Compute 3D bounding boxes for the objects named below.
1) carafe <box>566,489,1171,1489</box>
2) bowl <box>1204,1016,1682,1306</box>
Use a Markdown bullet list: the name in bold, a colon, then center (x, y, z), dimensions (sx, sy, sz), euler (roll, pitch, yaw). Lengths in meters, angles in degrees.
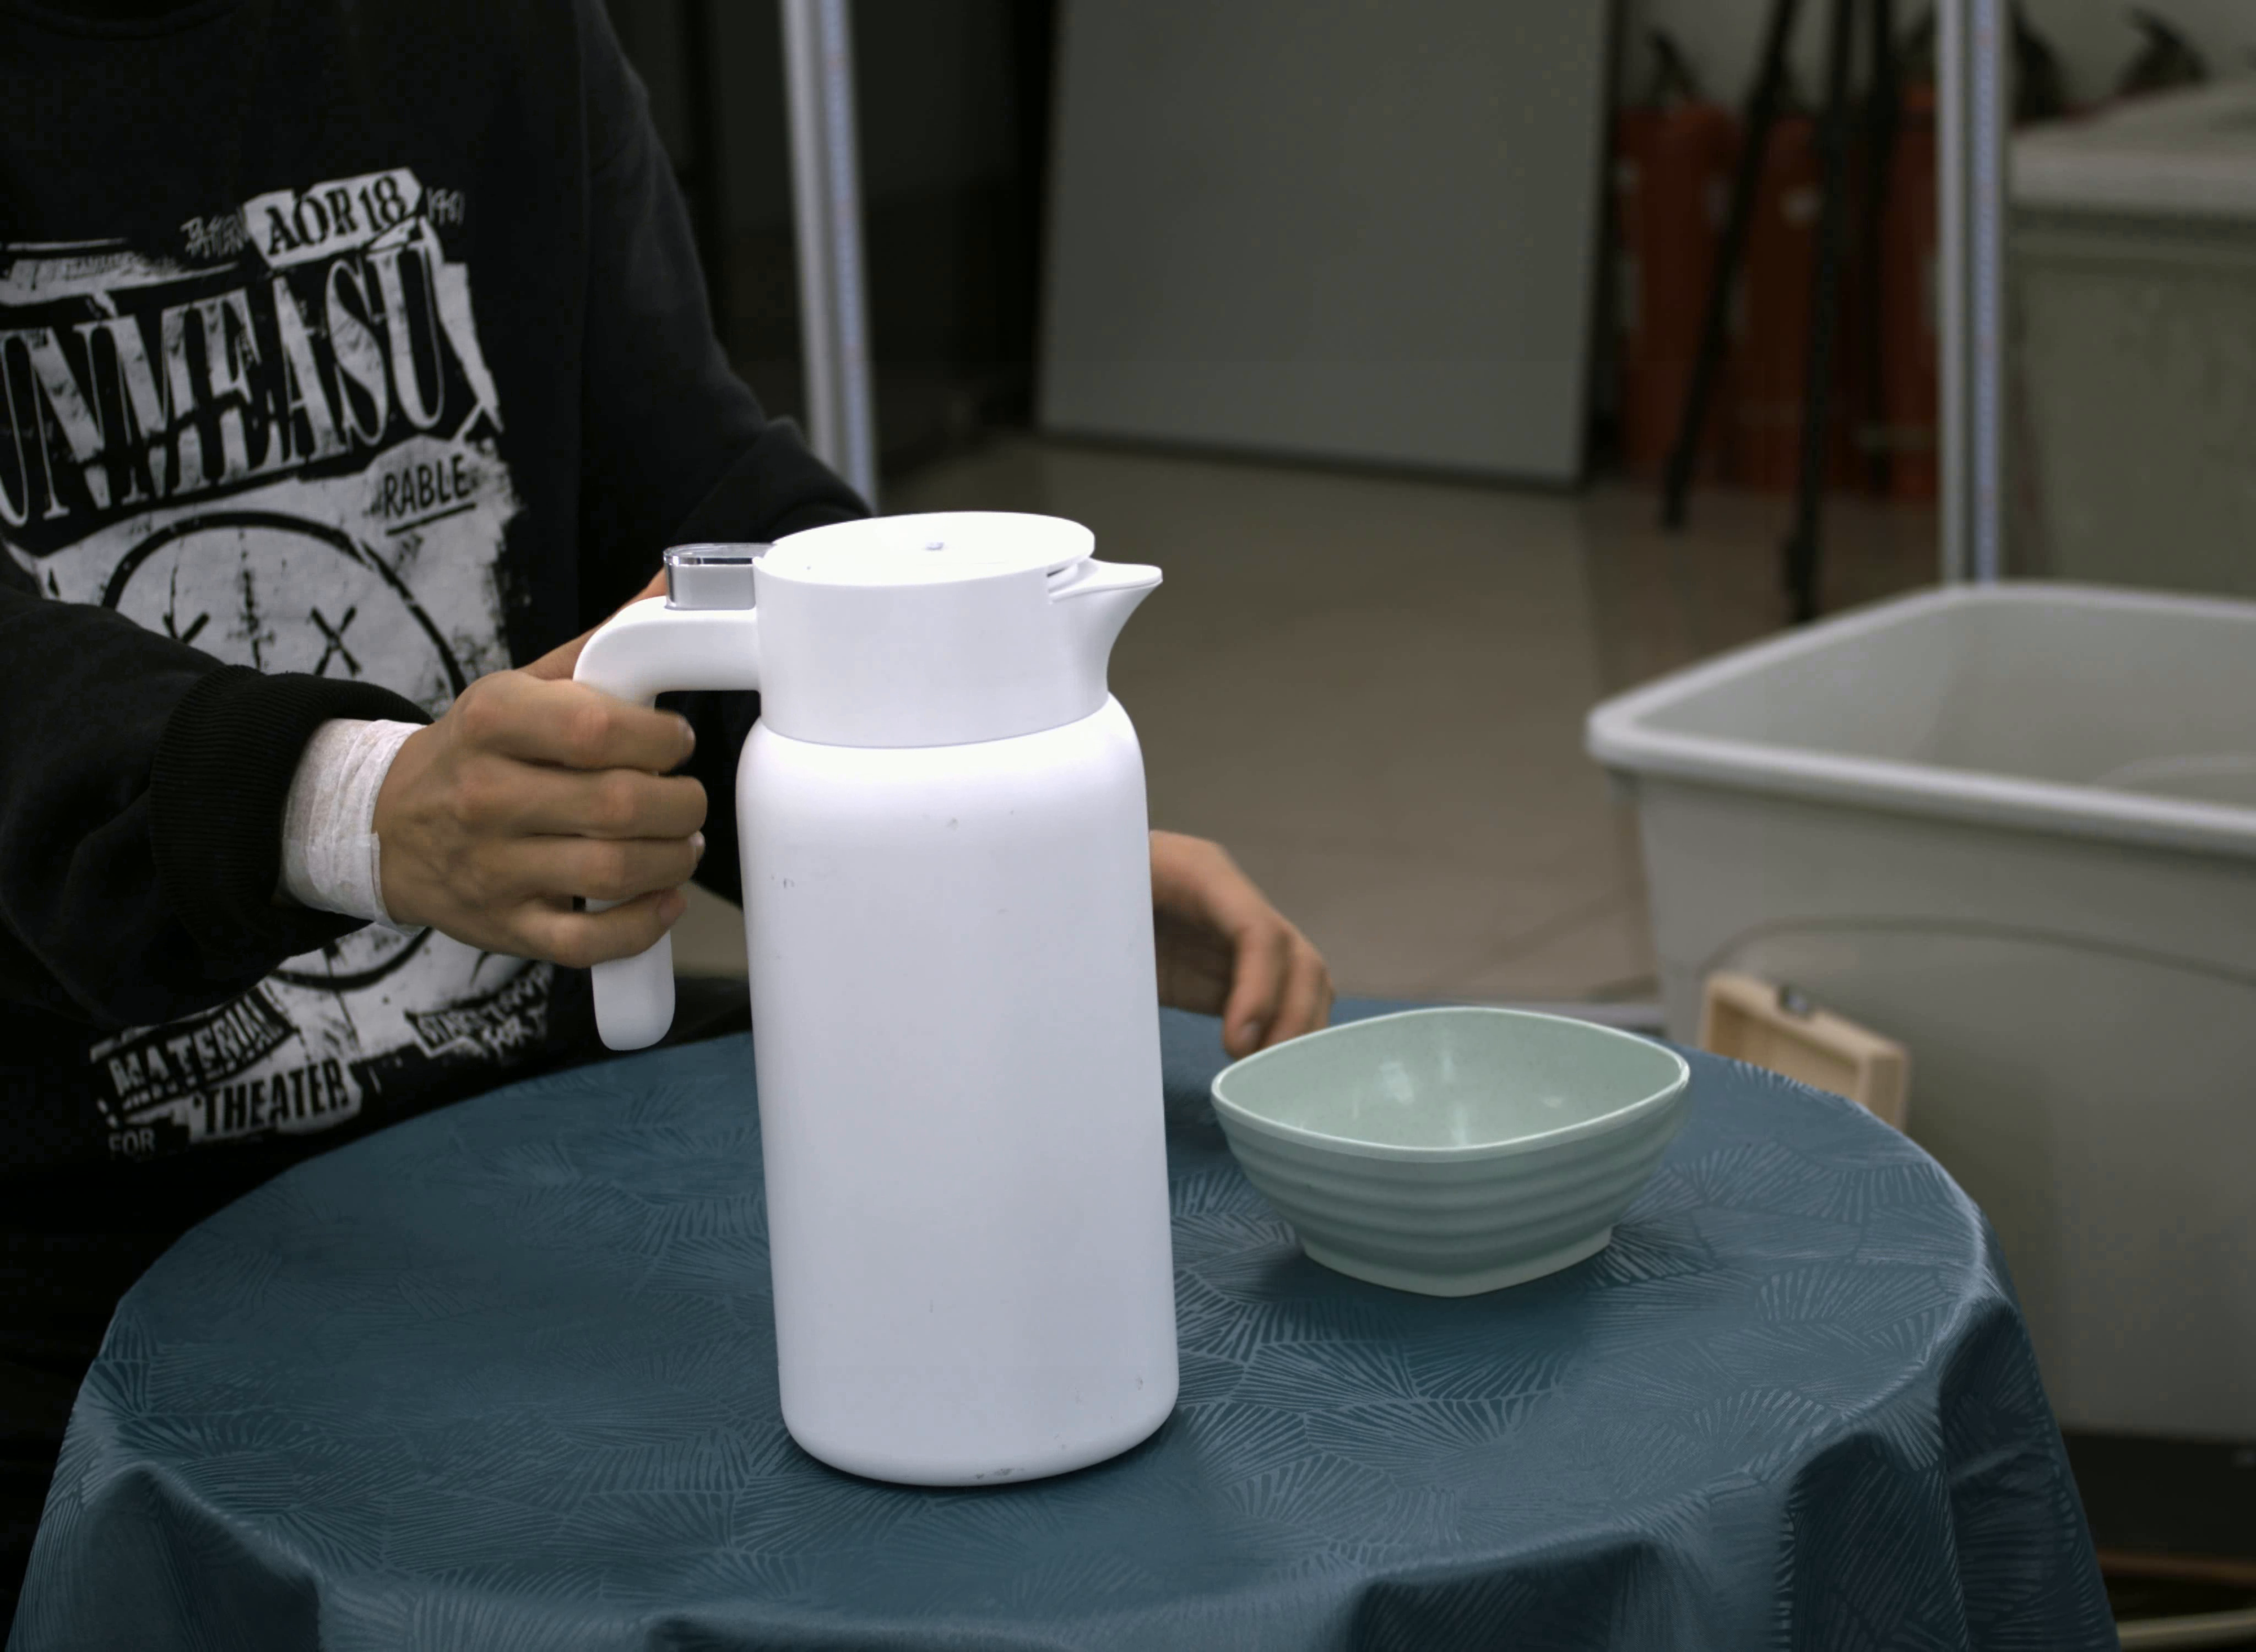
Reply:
- **carafe**: center (-0.069, 0.046, 1.541), dimensions (0.171, 0.272, 0.123), euler (-1, 16, 11)
- **bowl**: center (0.100, 0.108, 1.689), dimensions (0.149, 0.059, 0.151), euler (-4, 13, 0)
